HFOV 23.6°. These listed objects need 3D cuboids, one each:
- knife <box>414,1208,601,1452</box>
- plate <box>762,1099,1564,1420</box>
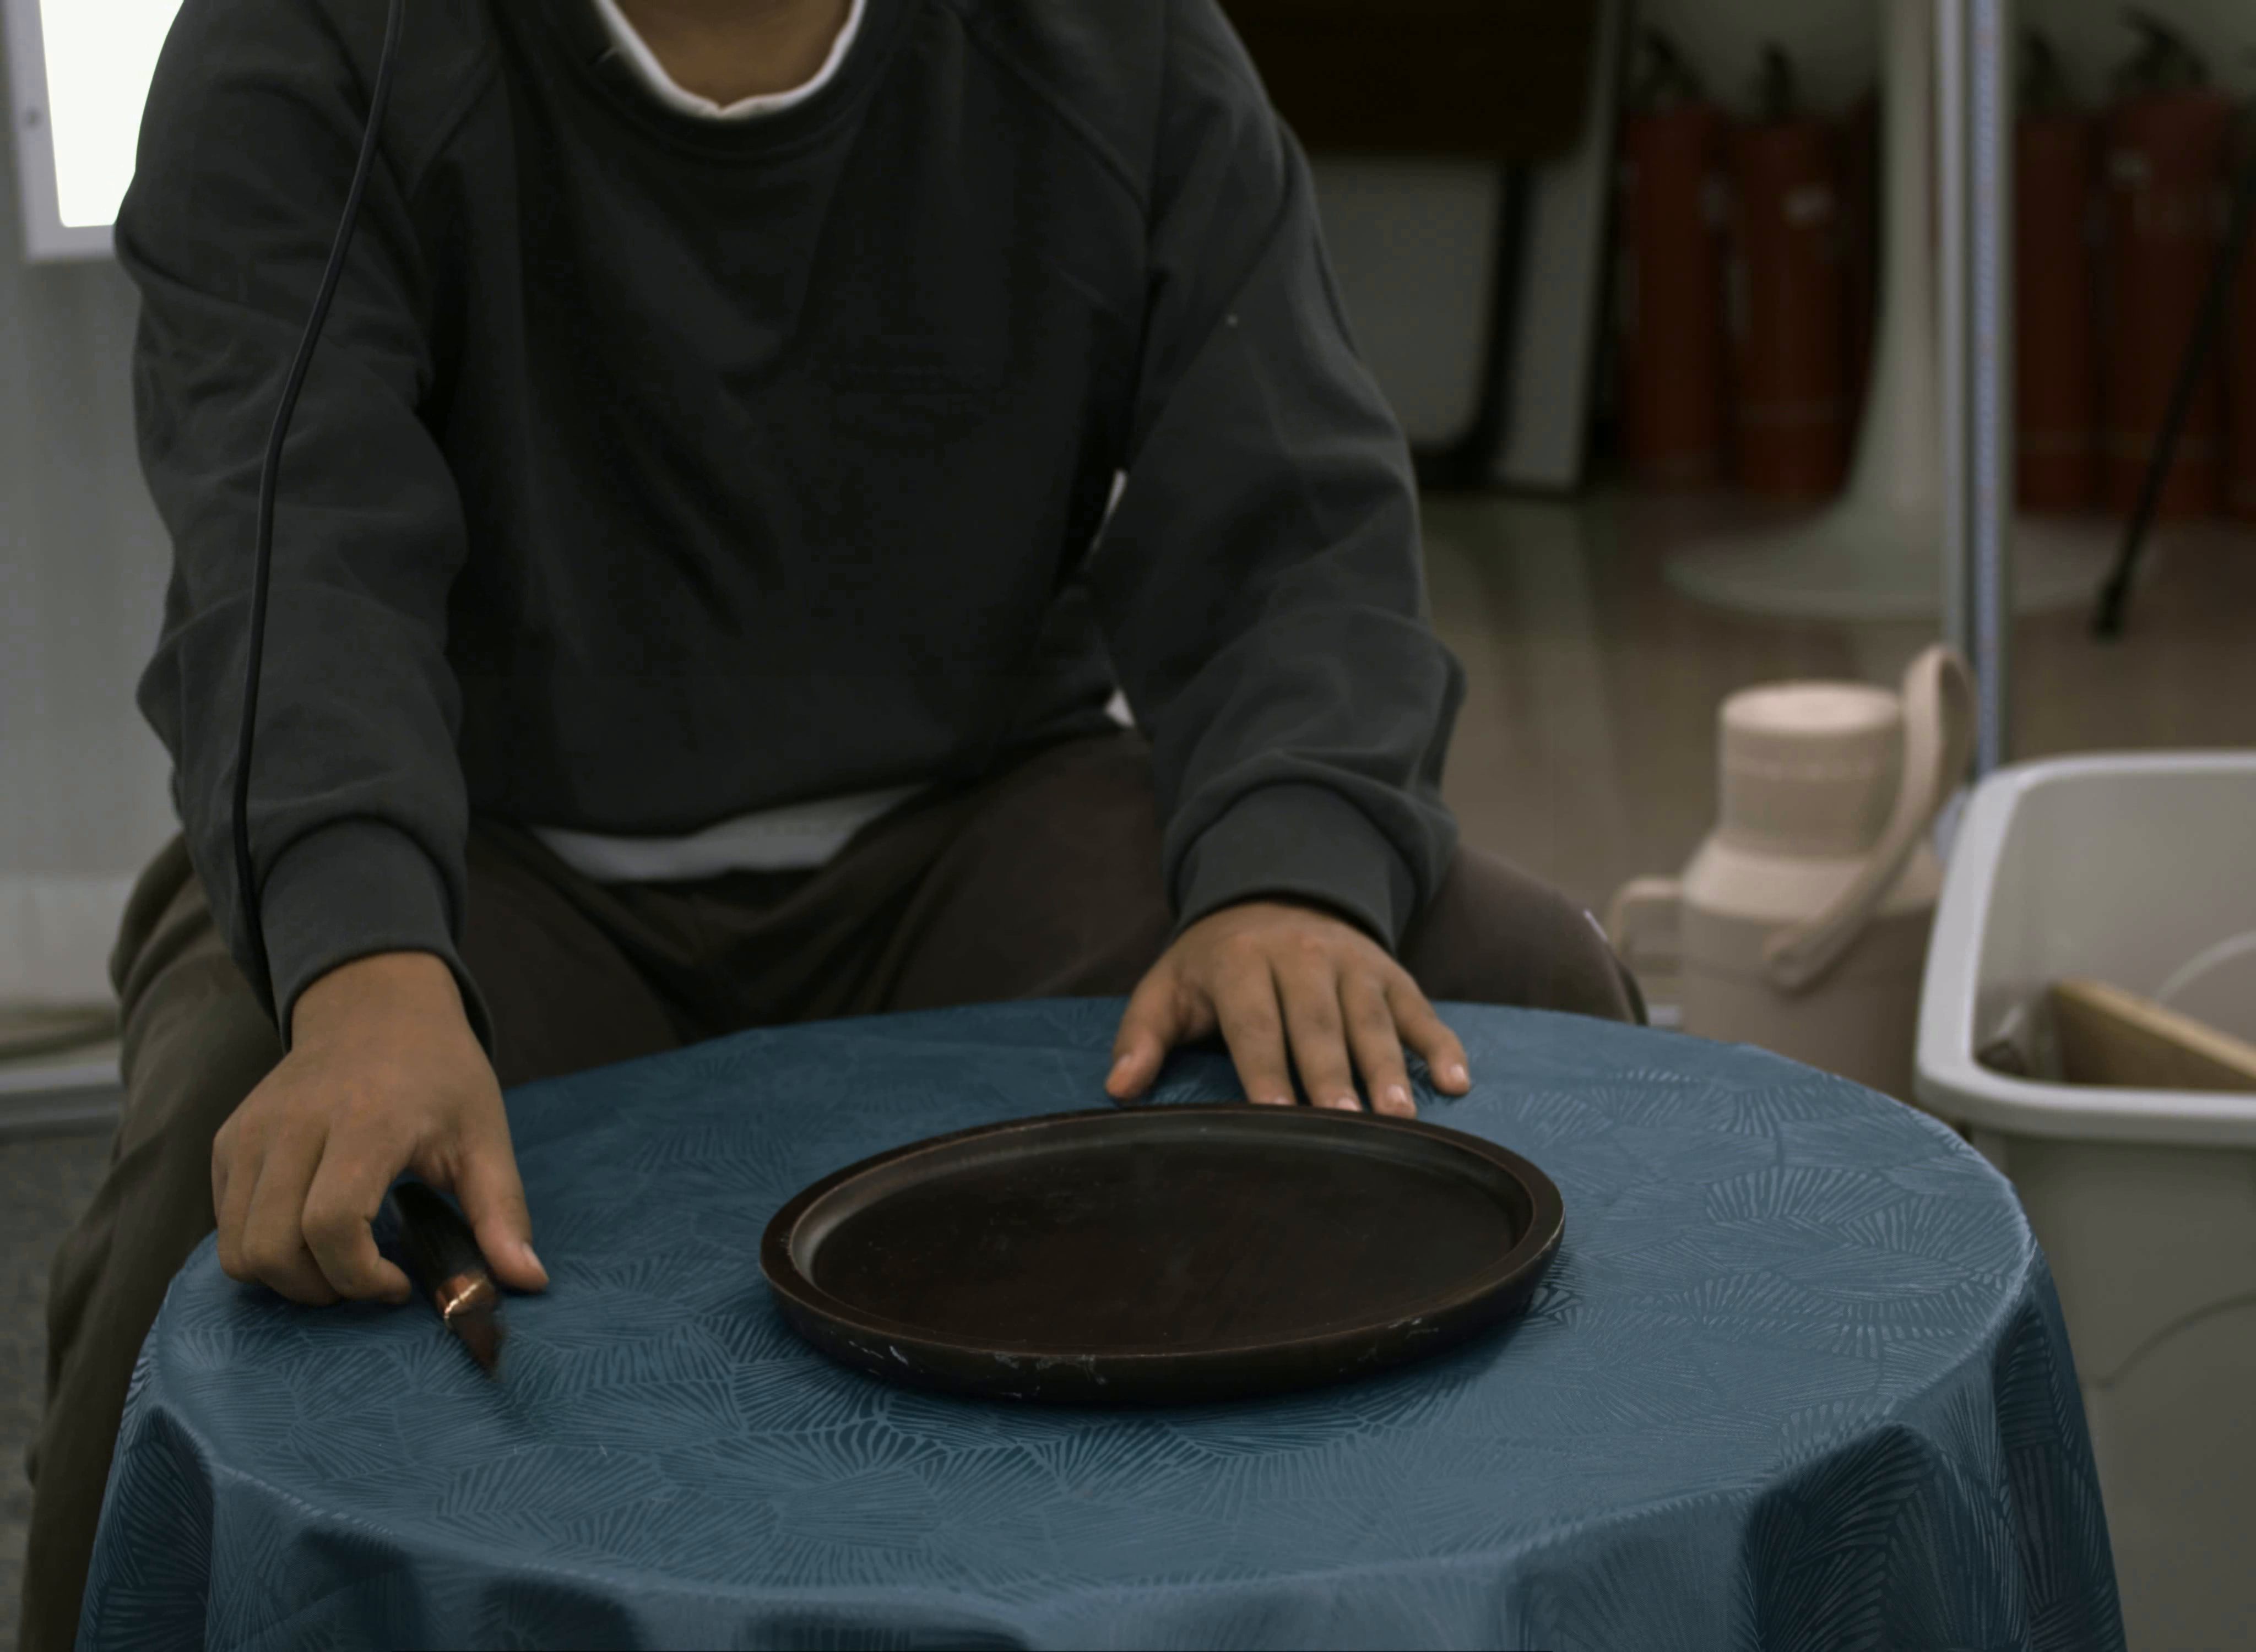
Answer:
[{"bbox_3d":[-0.193,0.155,1.671,0.025,0.017,0.227,-1,13,-17],"label":"knife"},{"bbox_3d":[0.012,0.133,1.677,0.251,0.029,0.255,-5,13,0],"label":"plate"}]
